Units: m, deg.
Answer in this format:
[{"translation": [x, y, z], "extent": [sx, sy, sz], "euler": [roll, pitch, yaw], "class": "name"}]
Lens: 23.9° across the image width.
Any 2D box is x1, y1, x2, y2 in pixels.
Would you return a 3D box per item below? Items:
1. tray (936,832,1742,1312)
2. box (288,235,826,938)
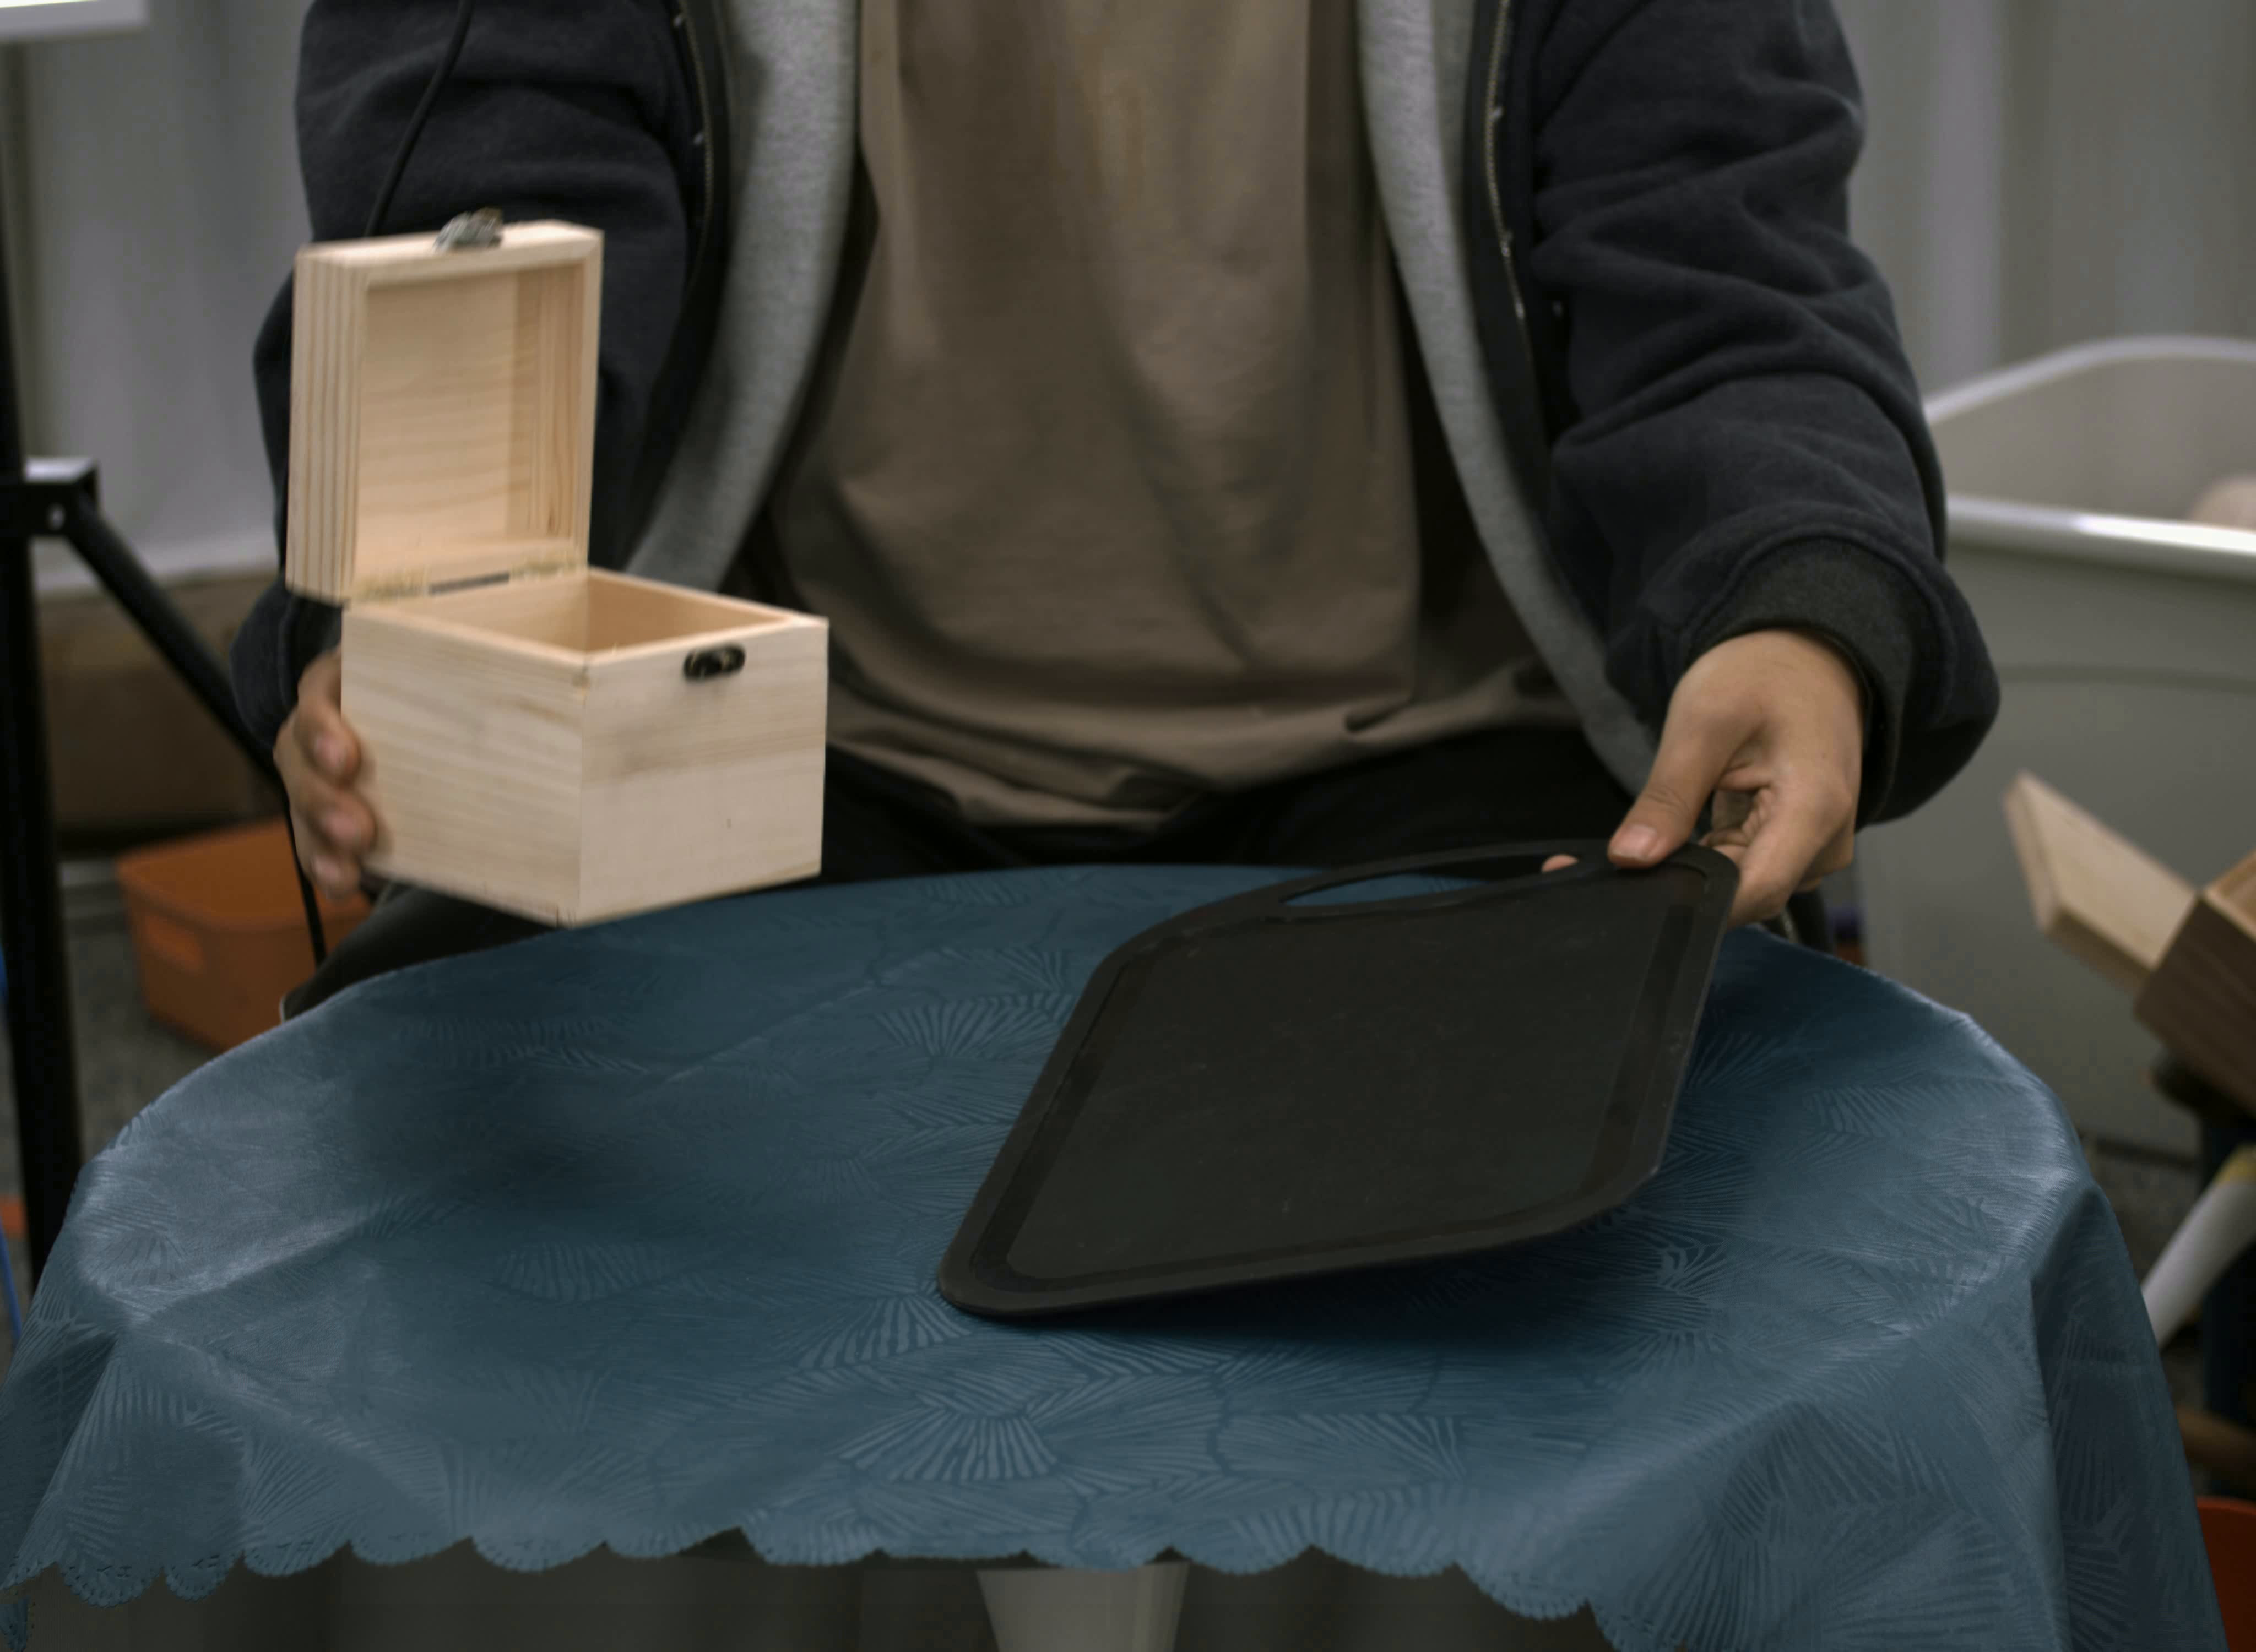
[{"translation": [0.070, 0.065, 1.579], "extent": [0.213, 0.010, 0.324], "euler": [-9, 19, 17], "class": "tray"}, {"translation": [-0.166, -0.074, 1.567], "extent": [0.137, 0.185, 0.100], "euler": [11, 16, 40], "class": "box"}]
